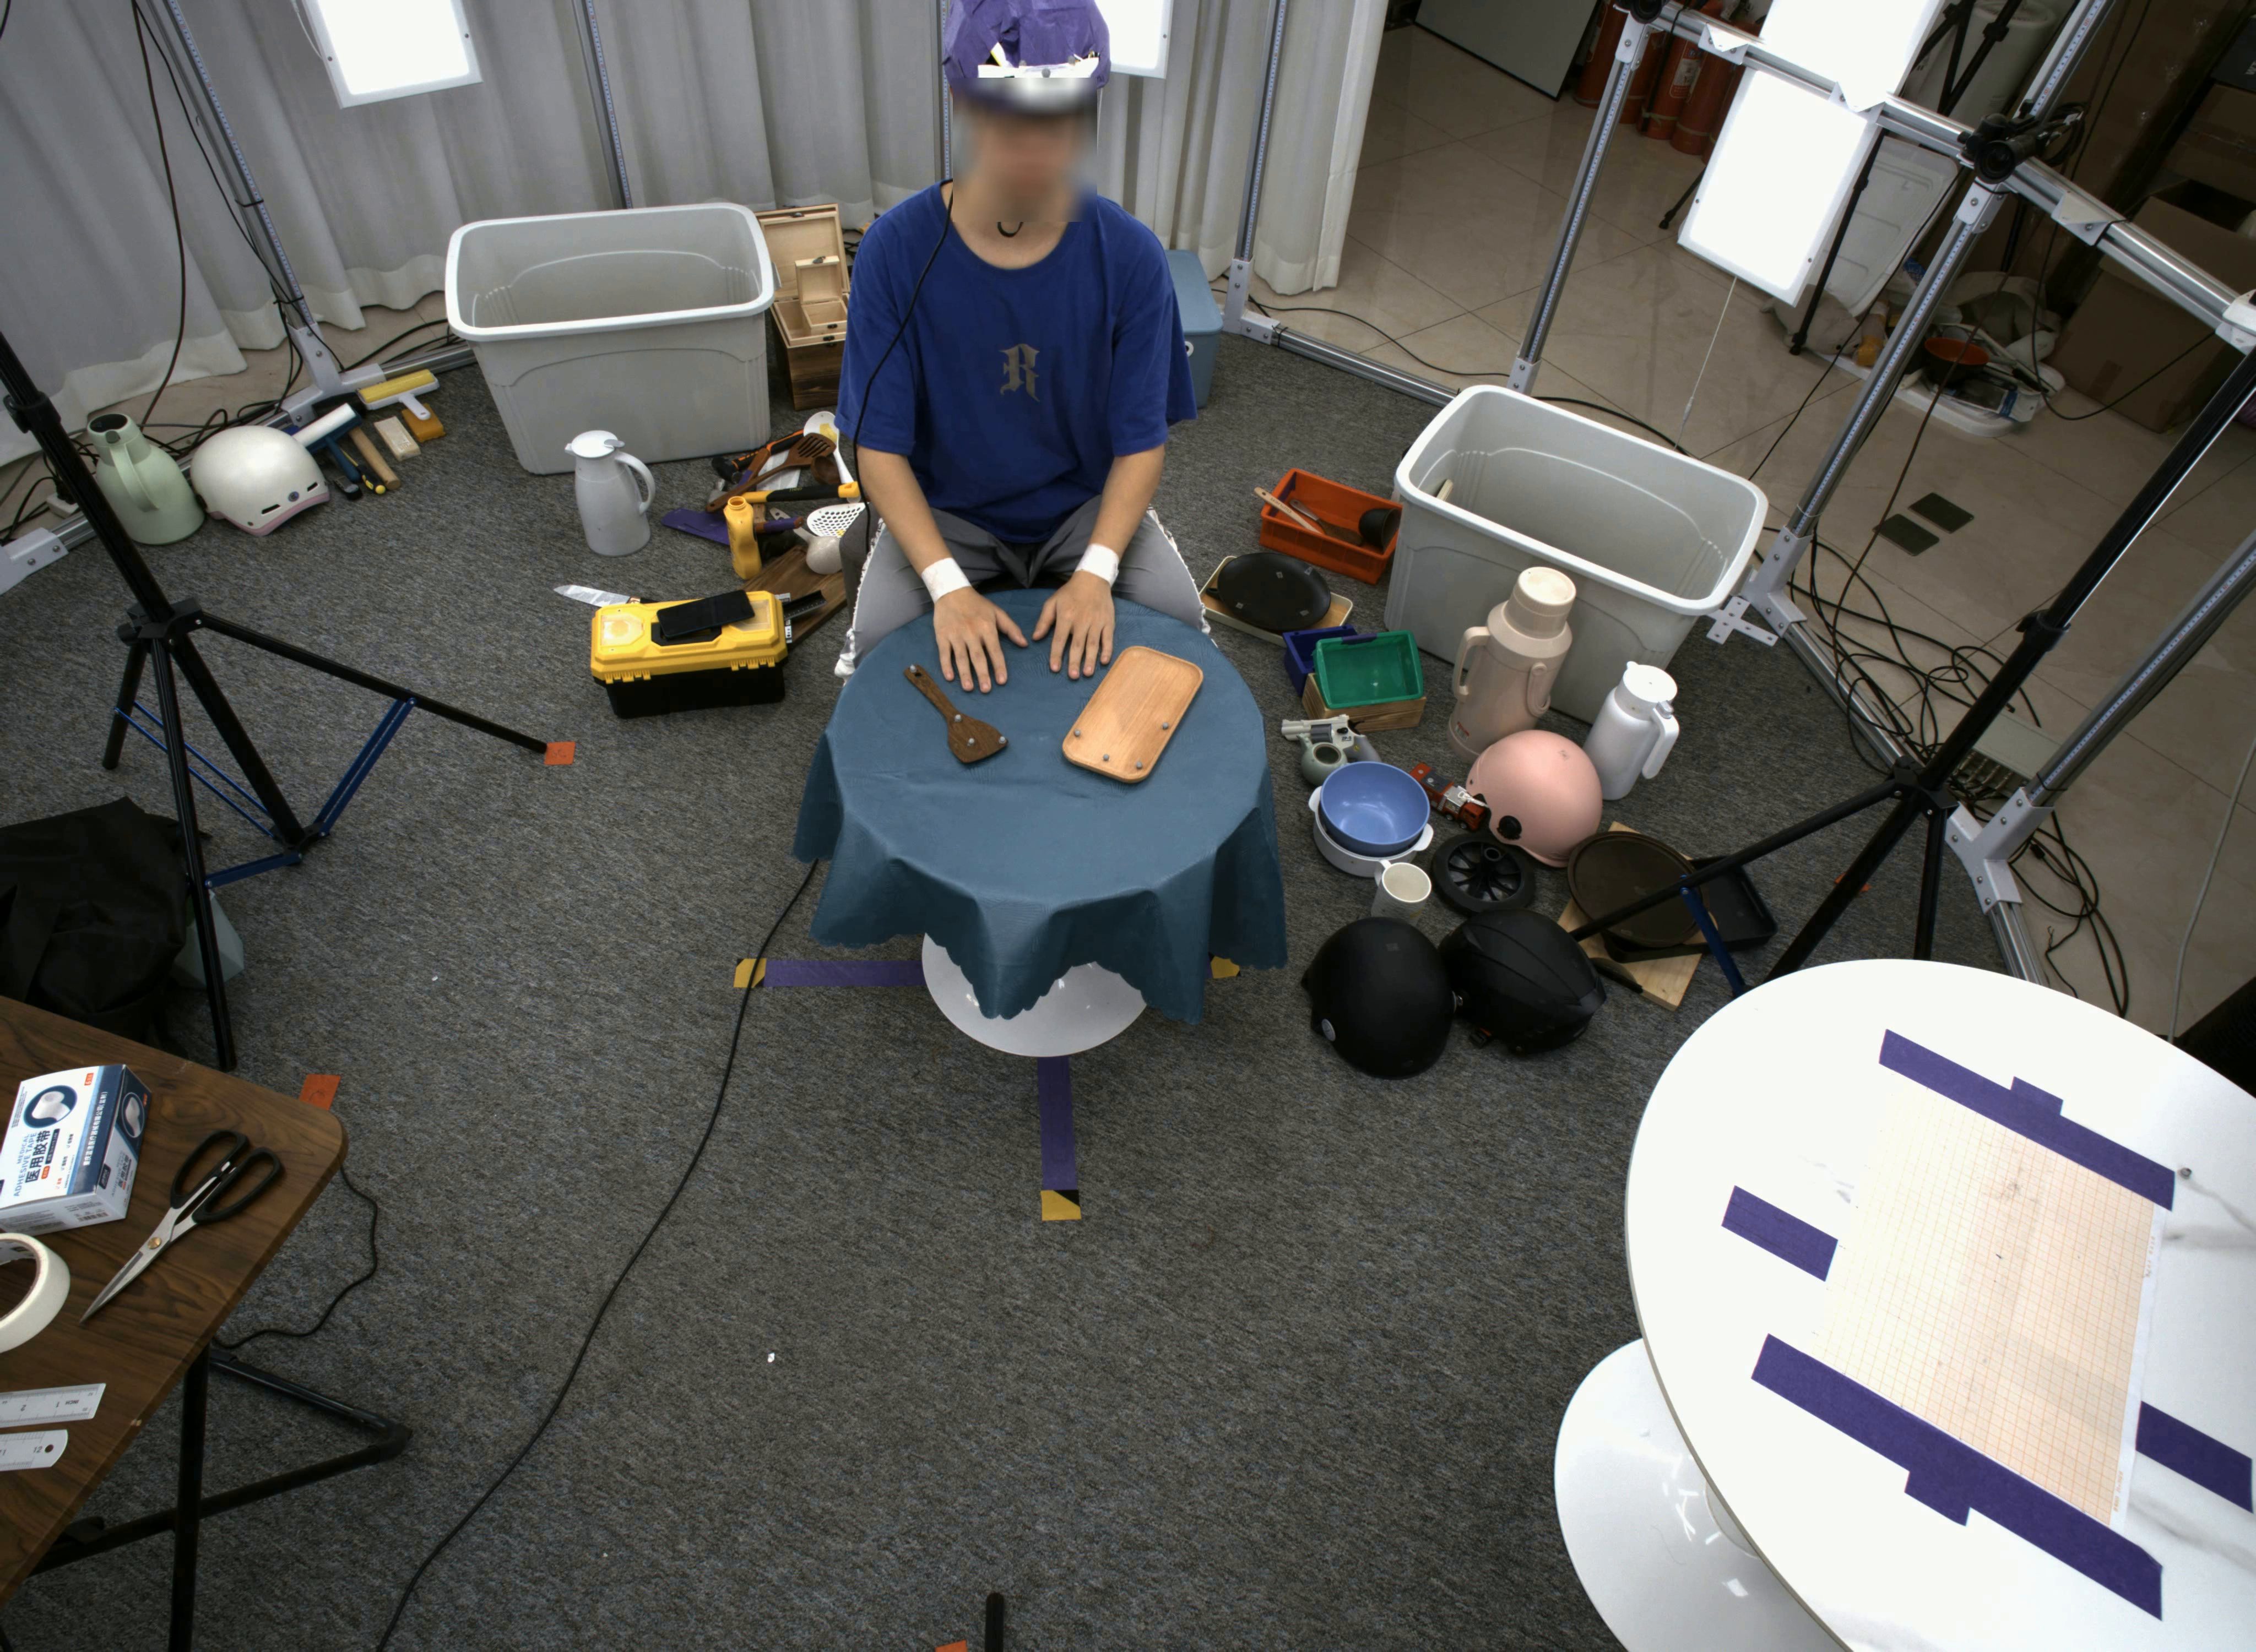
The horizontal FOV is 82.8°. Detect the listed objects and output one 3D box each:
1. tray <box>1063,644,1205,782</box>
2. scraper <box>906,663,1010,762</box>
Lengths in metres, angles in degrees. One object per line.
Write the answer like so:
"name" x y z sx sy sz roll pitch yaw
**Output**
"tray" 0.011 -0.162 1.802 0.131 0.022 0.255 22 51 12
"scraper" -0.247 -0.162 1.791 0.076 0.010 0.215 -26 55 -25
